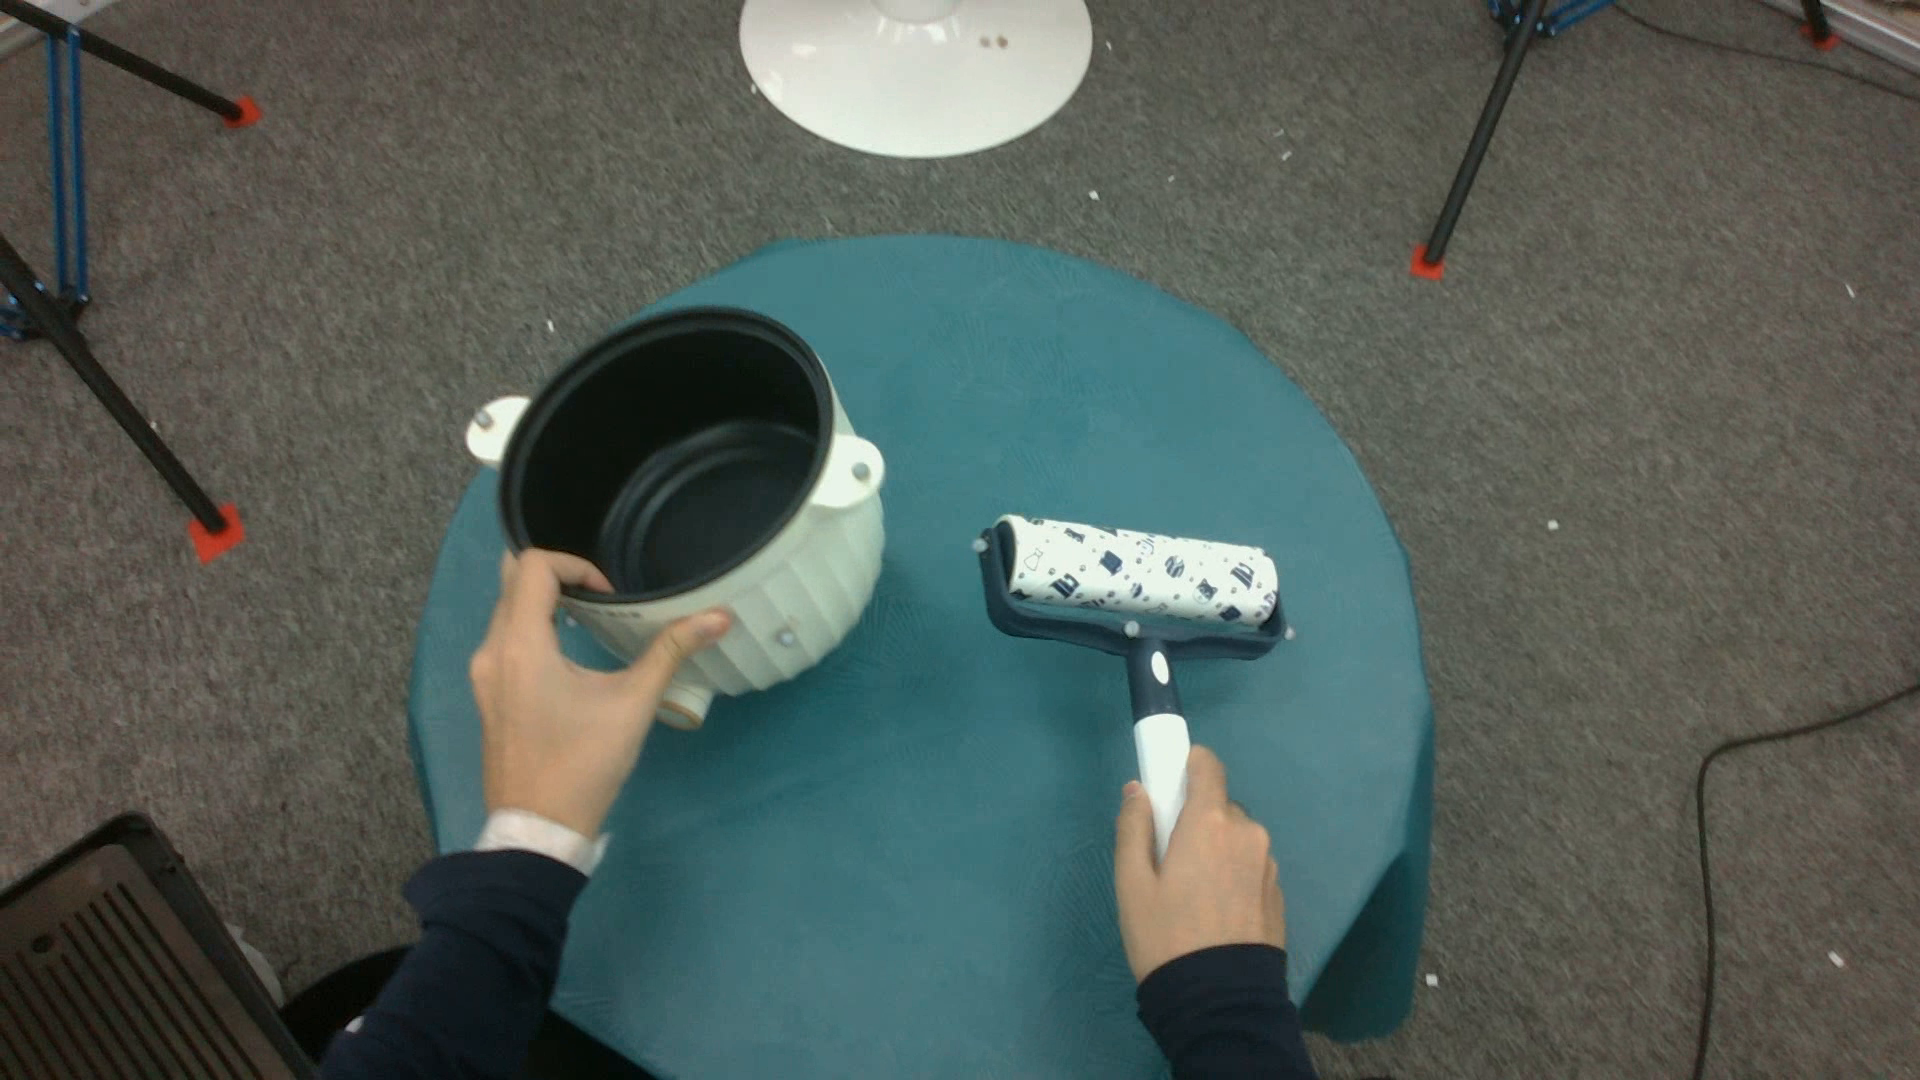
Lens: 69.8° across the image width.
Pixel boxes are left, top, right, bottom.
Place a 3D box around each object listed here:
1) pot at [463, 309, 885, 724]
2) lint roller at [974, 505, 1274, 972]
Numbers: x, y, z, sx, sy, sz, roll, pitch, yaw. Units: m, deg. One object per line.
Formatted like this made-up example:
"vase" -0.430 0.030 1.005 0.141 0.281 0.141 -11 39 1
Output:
"pot" -0.139 -0.009 0.751 0.240 0.142 0.191 6 57 19
"lint roller" 0.101 0.098 0.724 0.176 0.050 0.248 8 55 -20
